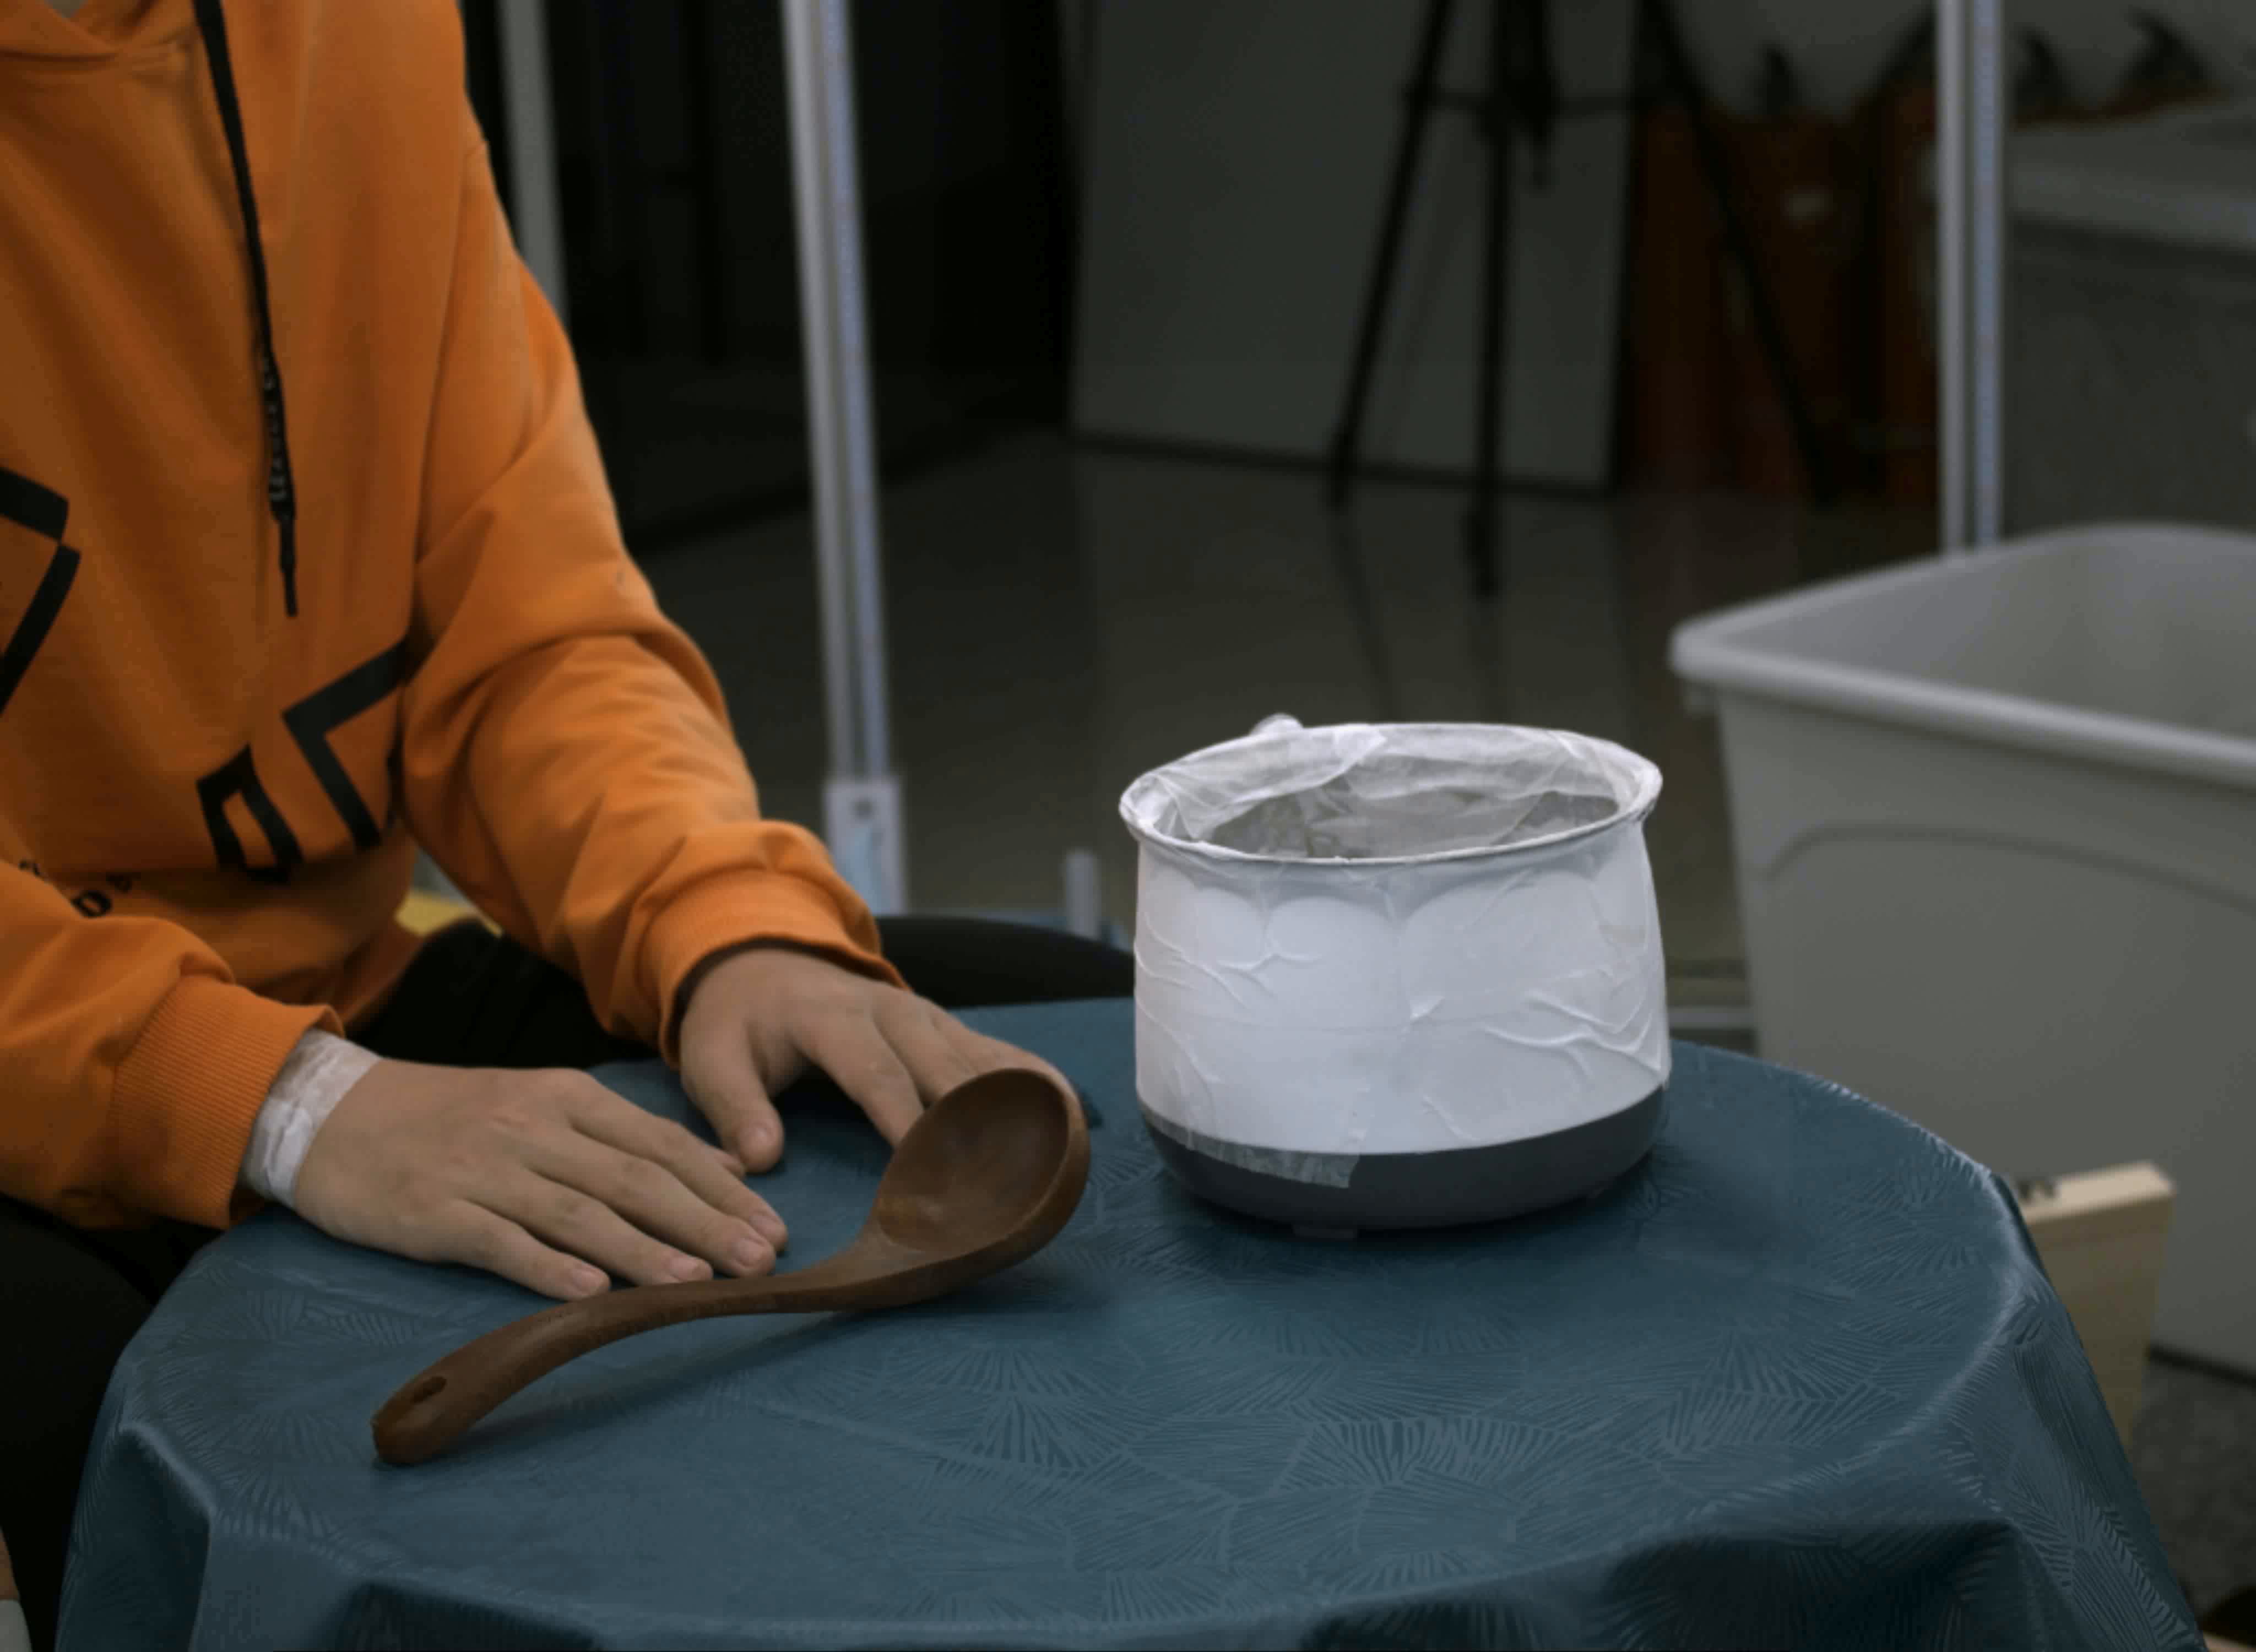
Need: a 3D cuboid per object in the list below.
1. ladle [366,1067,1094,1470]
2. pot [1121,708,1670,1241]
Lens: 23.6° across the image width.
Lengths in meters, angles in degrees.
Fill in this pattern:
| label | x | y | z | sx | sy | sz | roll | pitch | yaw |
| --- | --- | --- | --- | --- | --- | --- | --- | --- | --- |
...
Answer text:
| label | x | y | z | sx | sy | sz | roll | pitch | yaw |
| --- | --- | --- | --- | --- | --- | --- | --- | --- | --- |
| ladle | -0.119 | 0.131 | 1.633 | 0.254 | 0.066 | 0.077 | -14 | 14 | -35 |
| pot | 0.078 | 0.042 | 1.778 | 0.175 | 0.138 | 0.236 | -8 | 14 | -19 |
